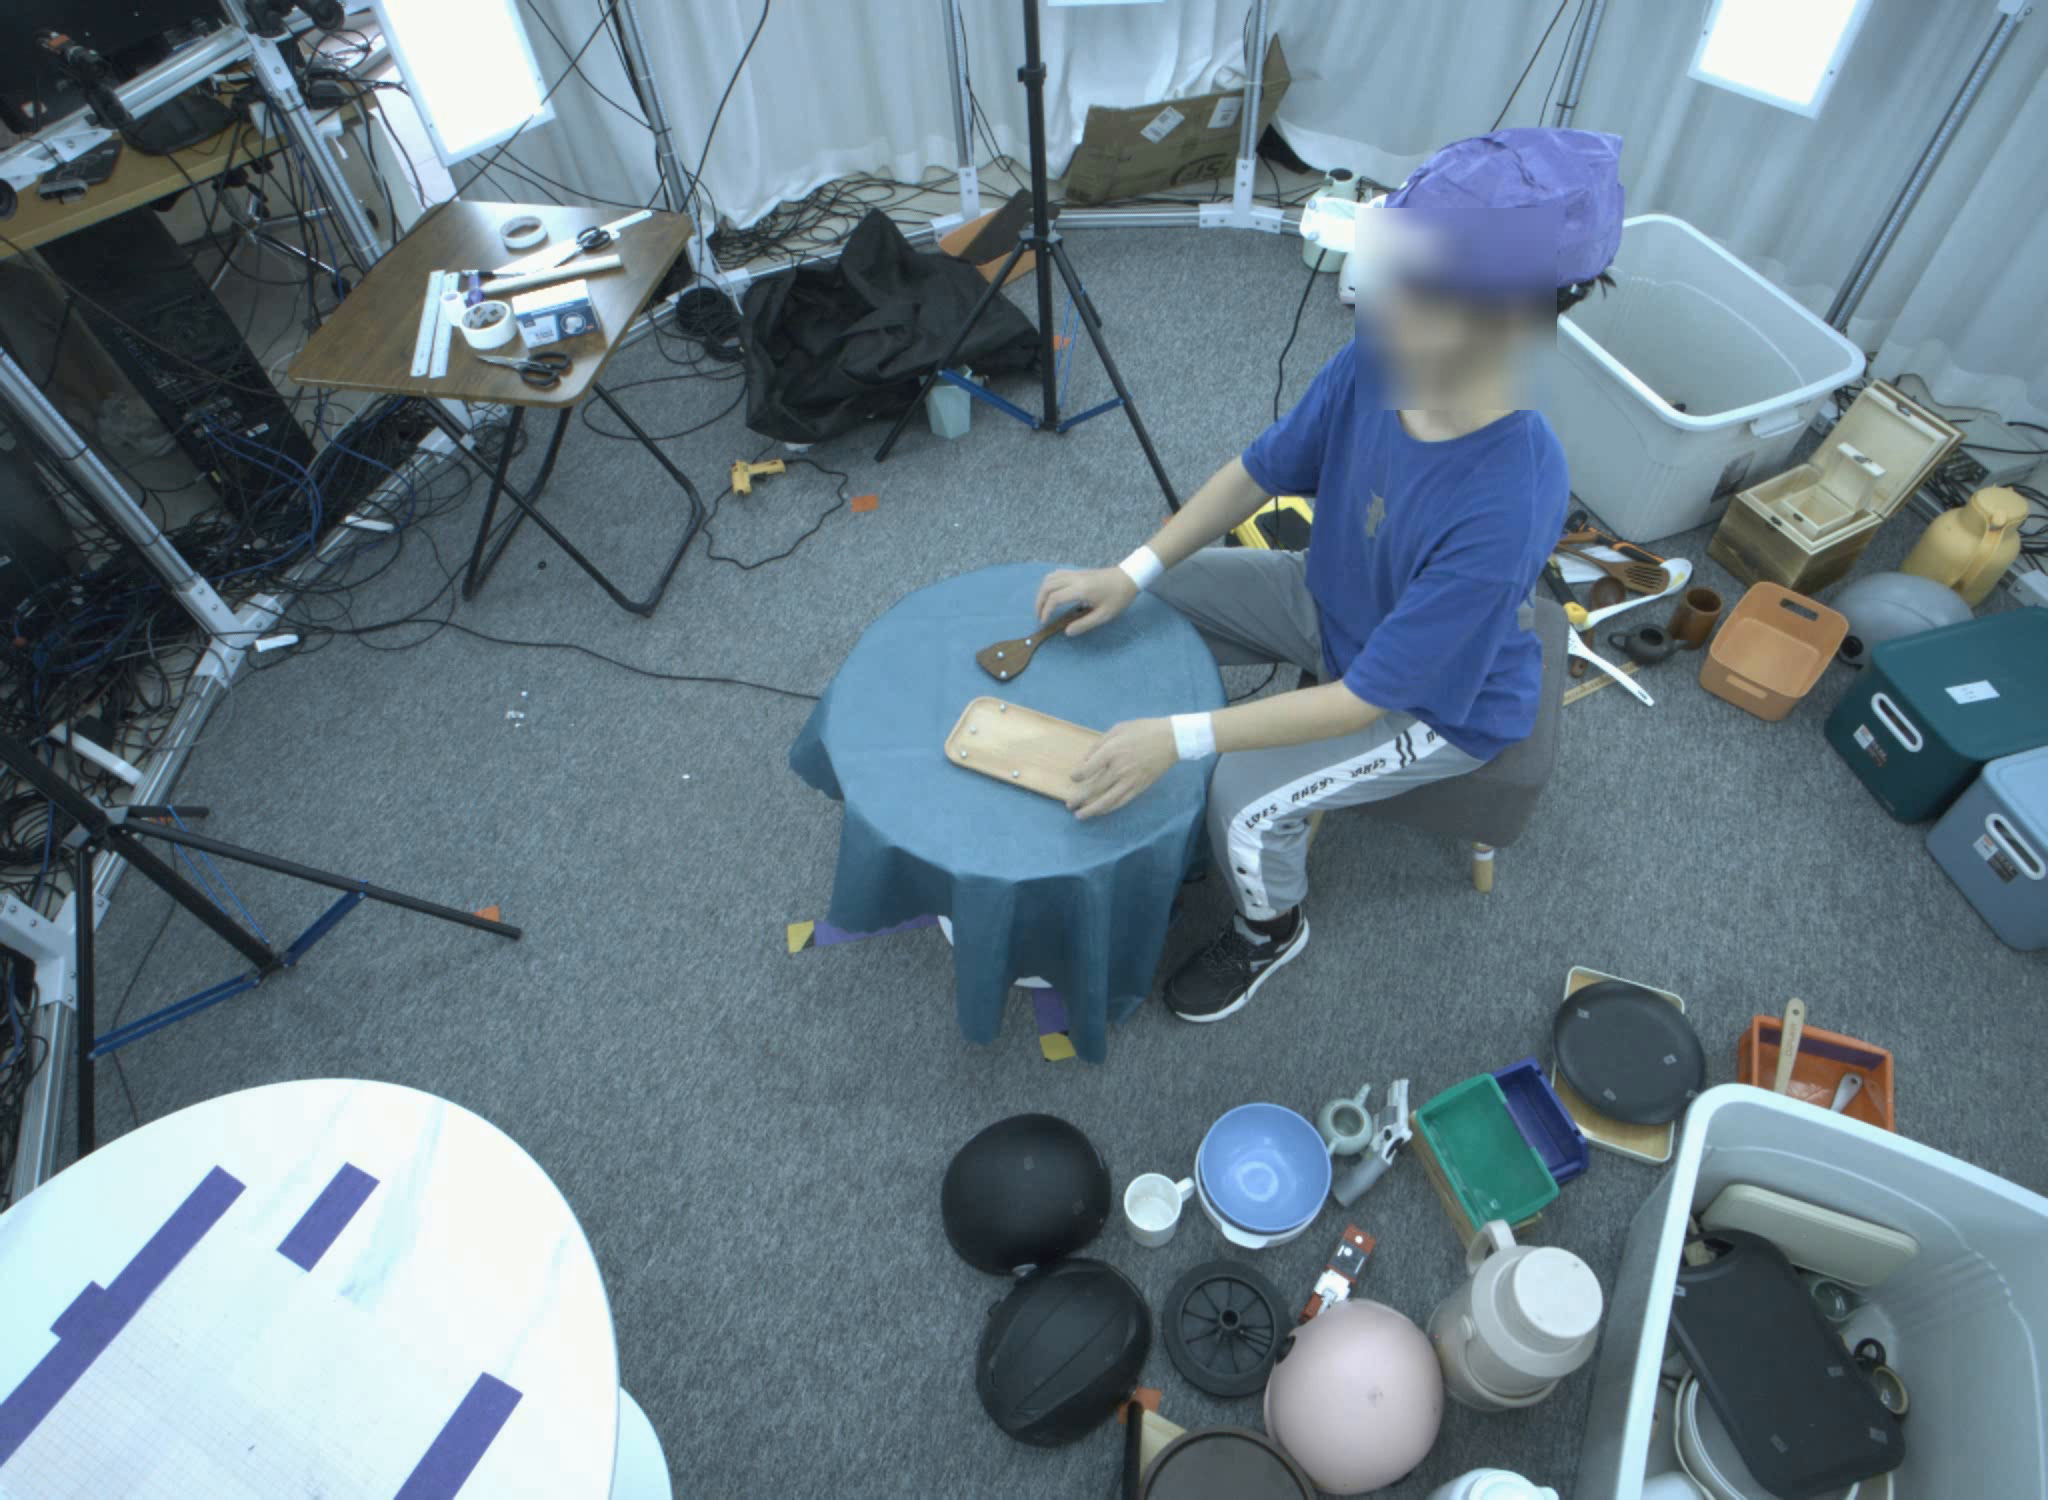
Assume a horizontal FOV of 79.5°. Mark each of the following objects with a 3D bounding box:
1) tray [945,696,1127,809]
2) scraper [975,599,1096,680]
[{"bbox_3d":[0.017,0.002,1.765,0.248,0.023,0.130,20,60,15],"label":"tray"},{"bbox_3d":[0.024,-0.176,1.898,0.213,0.011,0.074,-34,61,-21],"label":"scraper"}]
